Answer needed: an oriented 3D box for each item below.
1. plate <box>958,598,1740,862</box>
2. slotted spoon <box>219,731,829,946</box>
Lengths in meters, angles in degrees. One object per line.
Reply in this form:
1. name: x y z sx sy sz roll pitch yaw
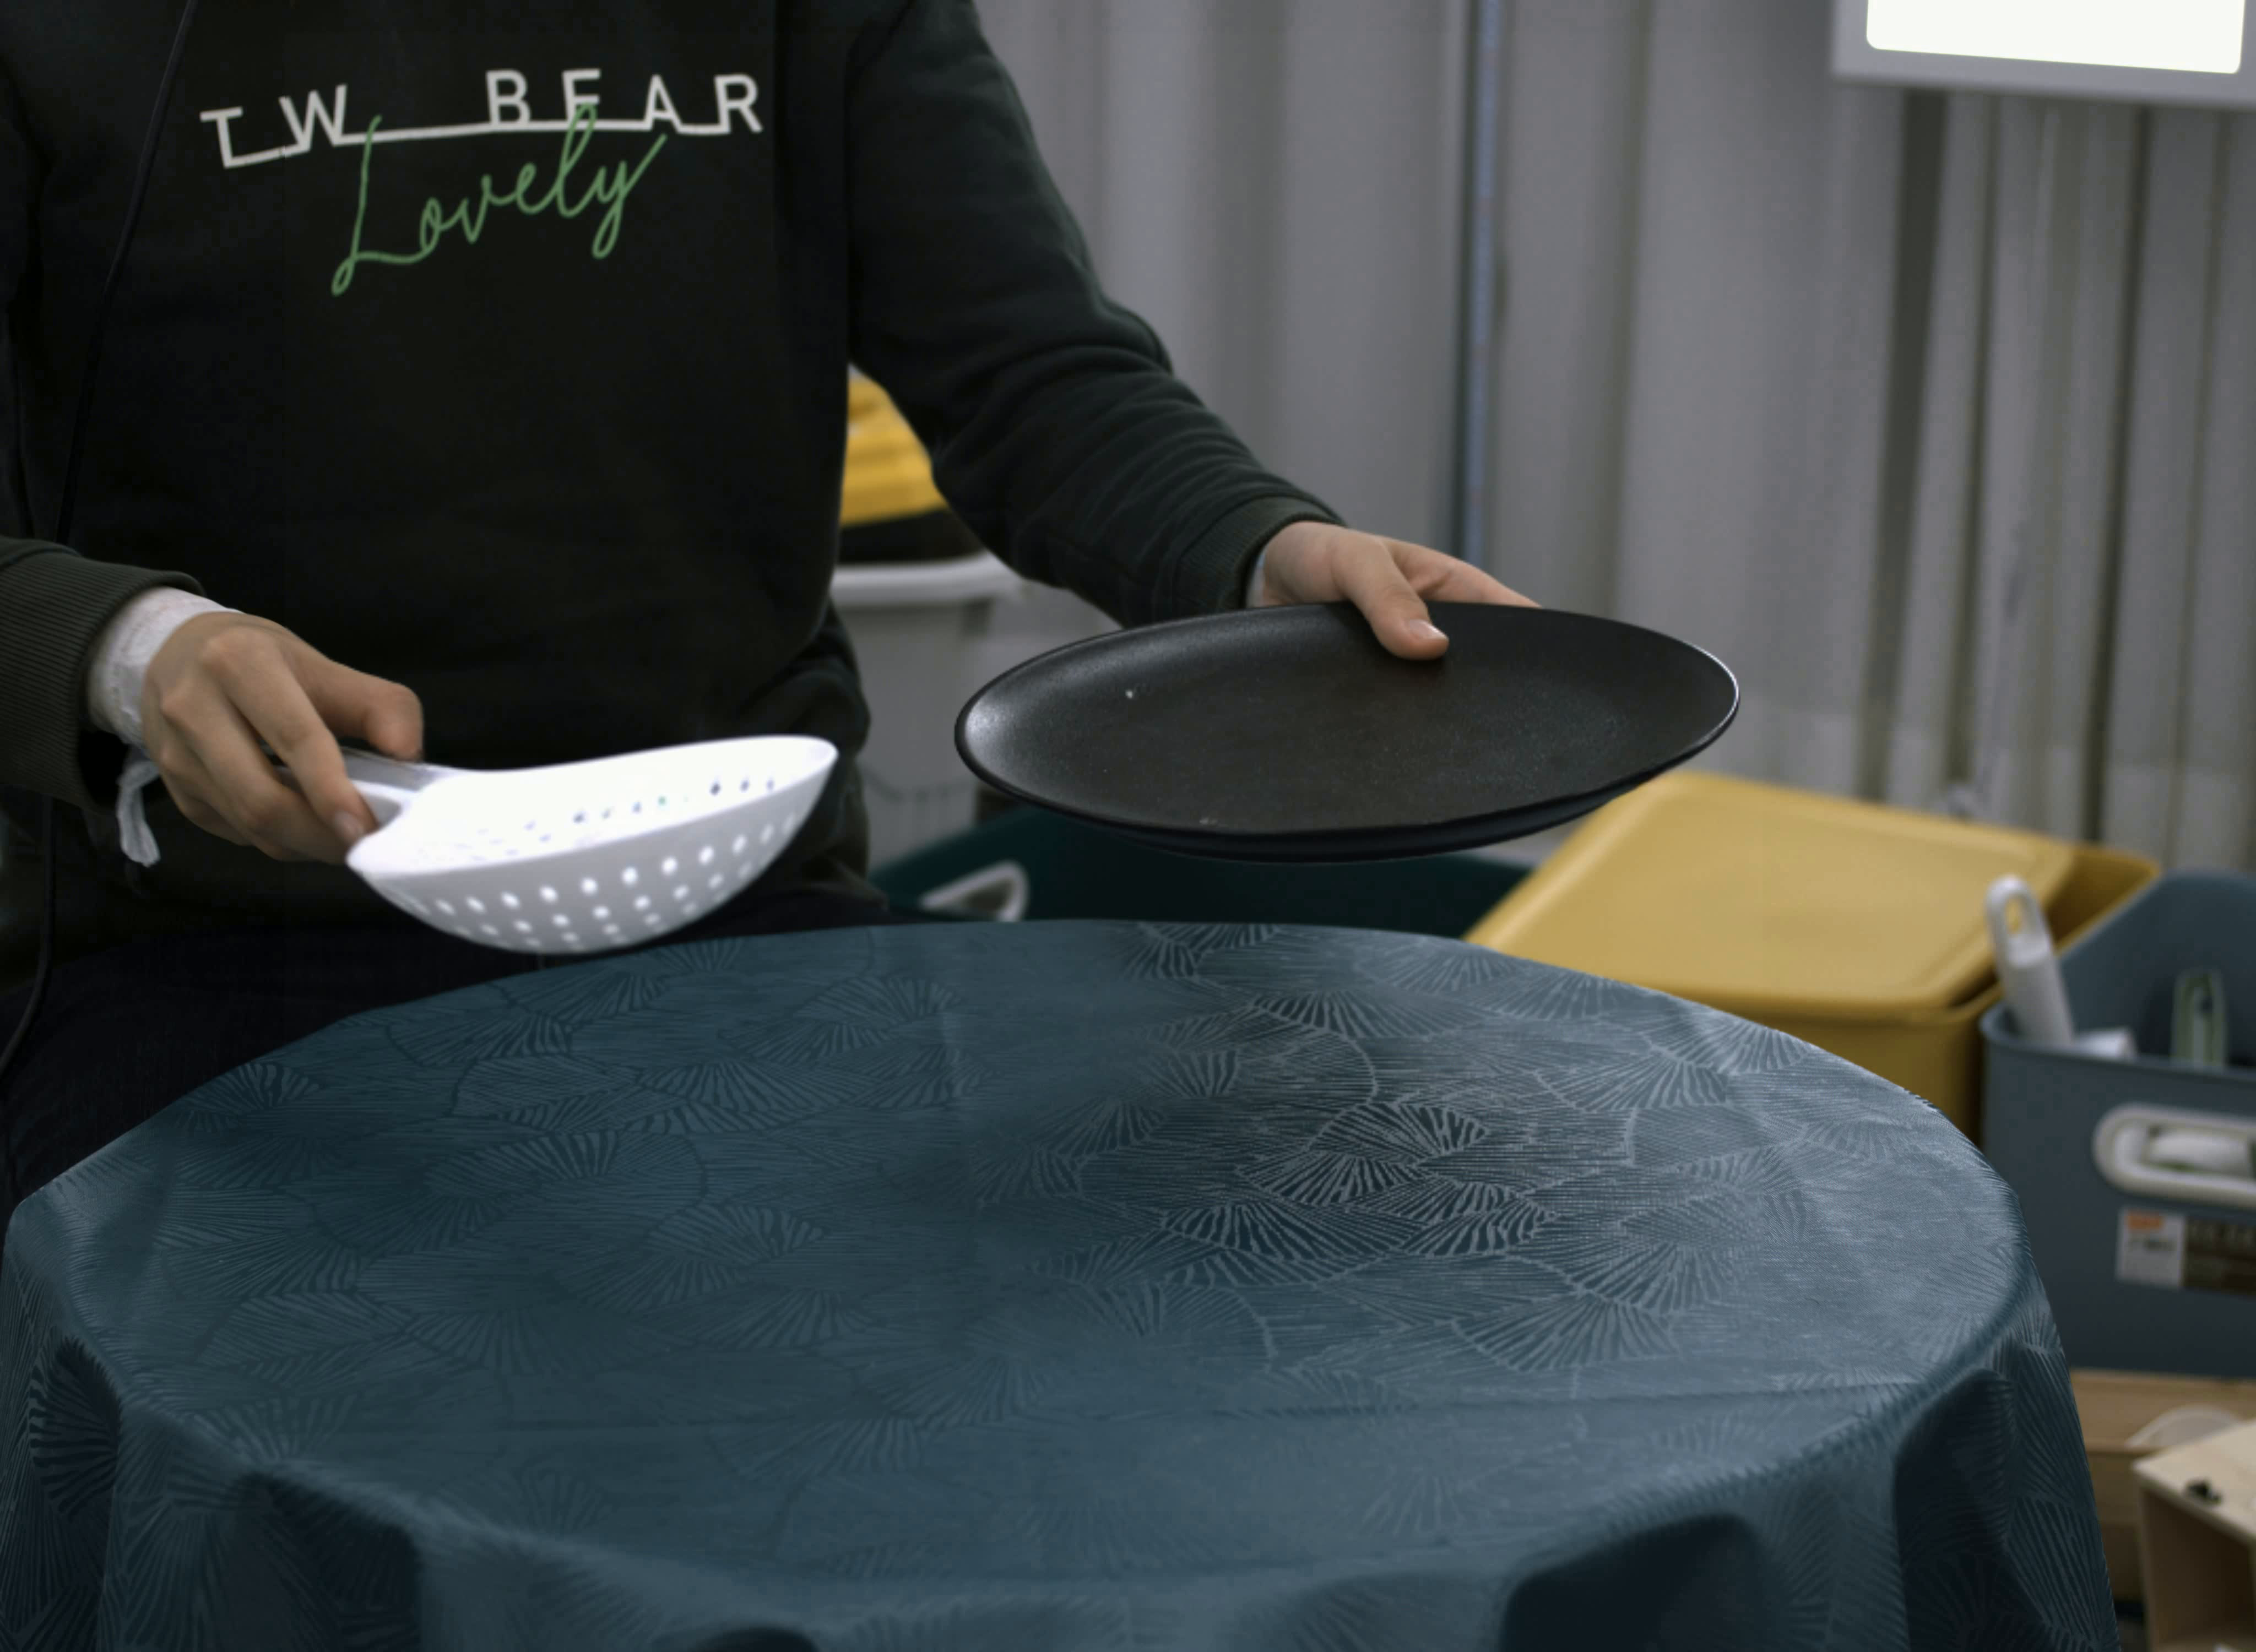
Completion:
1. plate: 0.068 -0.028 1.632 0.243 0.023 0.243 -3 18 2
2. slotted spoon: -0.197 -0.009 1.522 0.136 0.046 0.345 -16 16 -27
